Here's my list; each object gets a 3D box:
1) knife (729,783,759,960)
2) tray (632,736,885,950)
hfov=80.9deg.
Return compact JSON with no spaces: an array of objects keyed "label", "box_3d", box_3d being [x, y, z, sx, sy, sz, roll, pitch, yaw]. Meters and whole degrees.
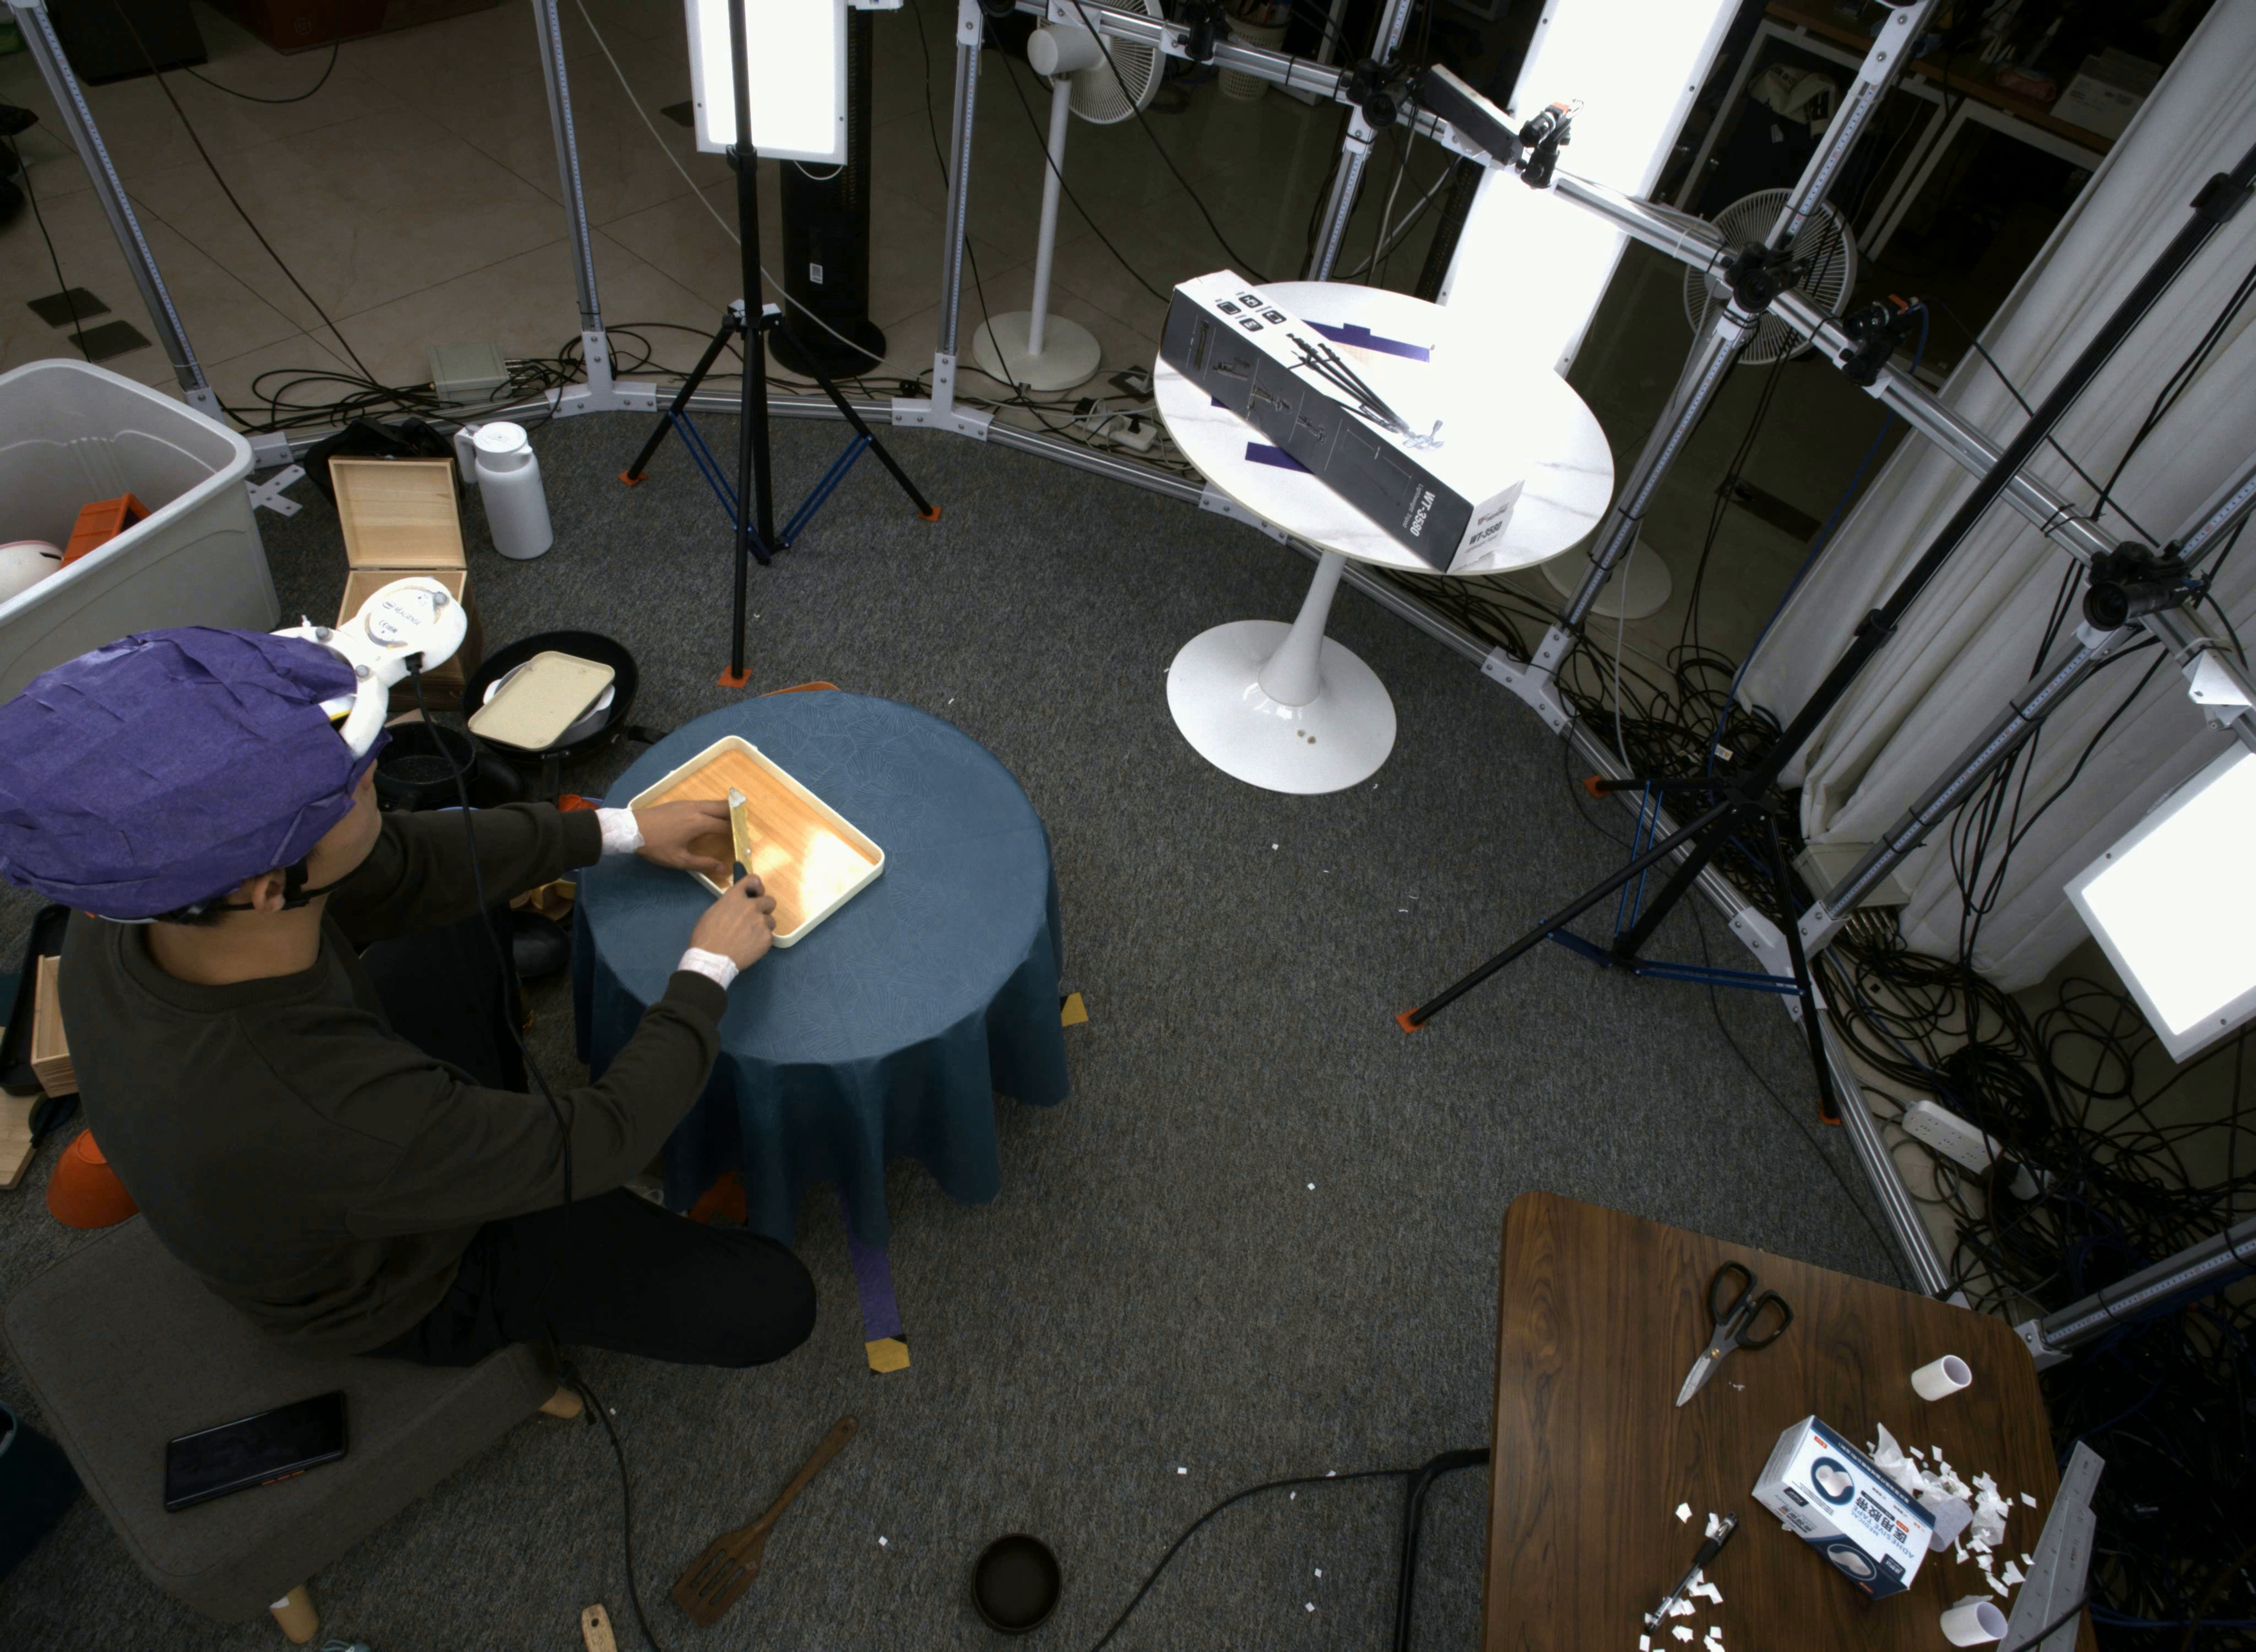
[{"label":"knife","box_3d":[-0.480,0.053,1.621,0.027,0.084,0.282,-16,52,-1]},{"label":"tray","box_3d":[-0.484,0.015,1.692,0.294,0.028,0.191,37,55,14]}]
